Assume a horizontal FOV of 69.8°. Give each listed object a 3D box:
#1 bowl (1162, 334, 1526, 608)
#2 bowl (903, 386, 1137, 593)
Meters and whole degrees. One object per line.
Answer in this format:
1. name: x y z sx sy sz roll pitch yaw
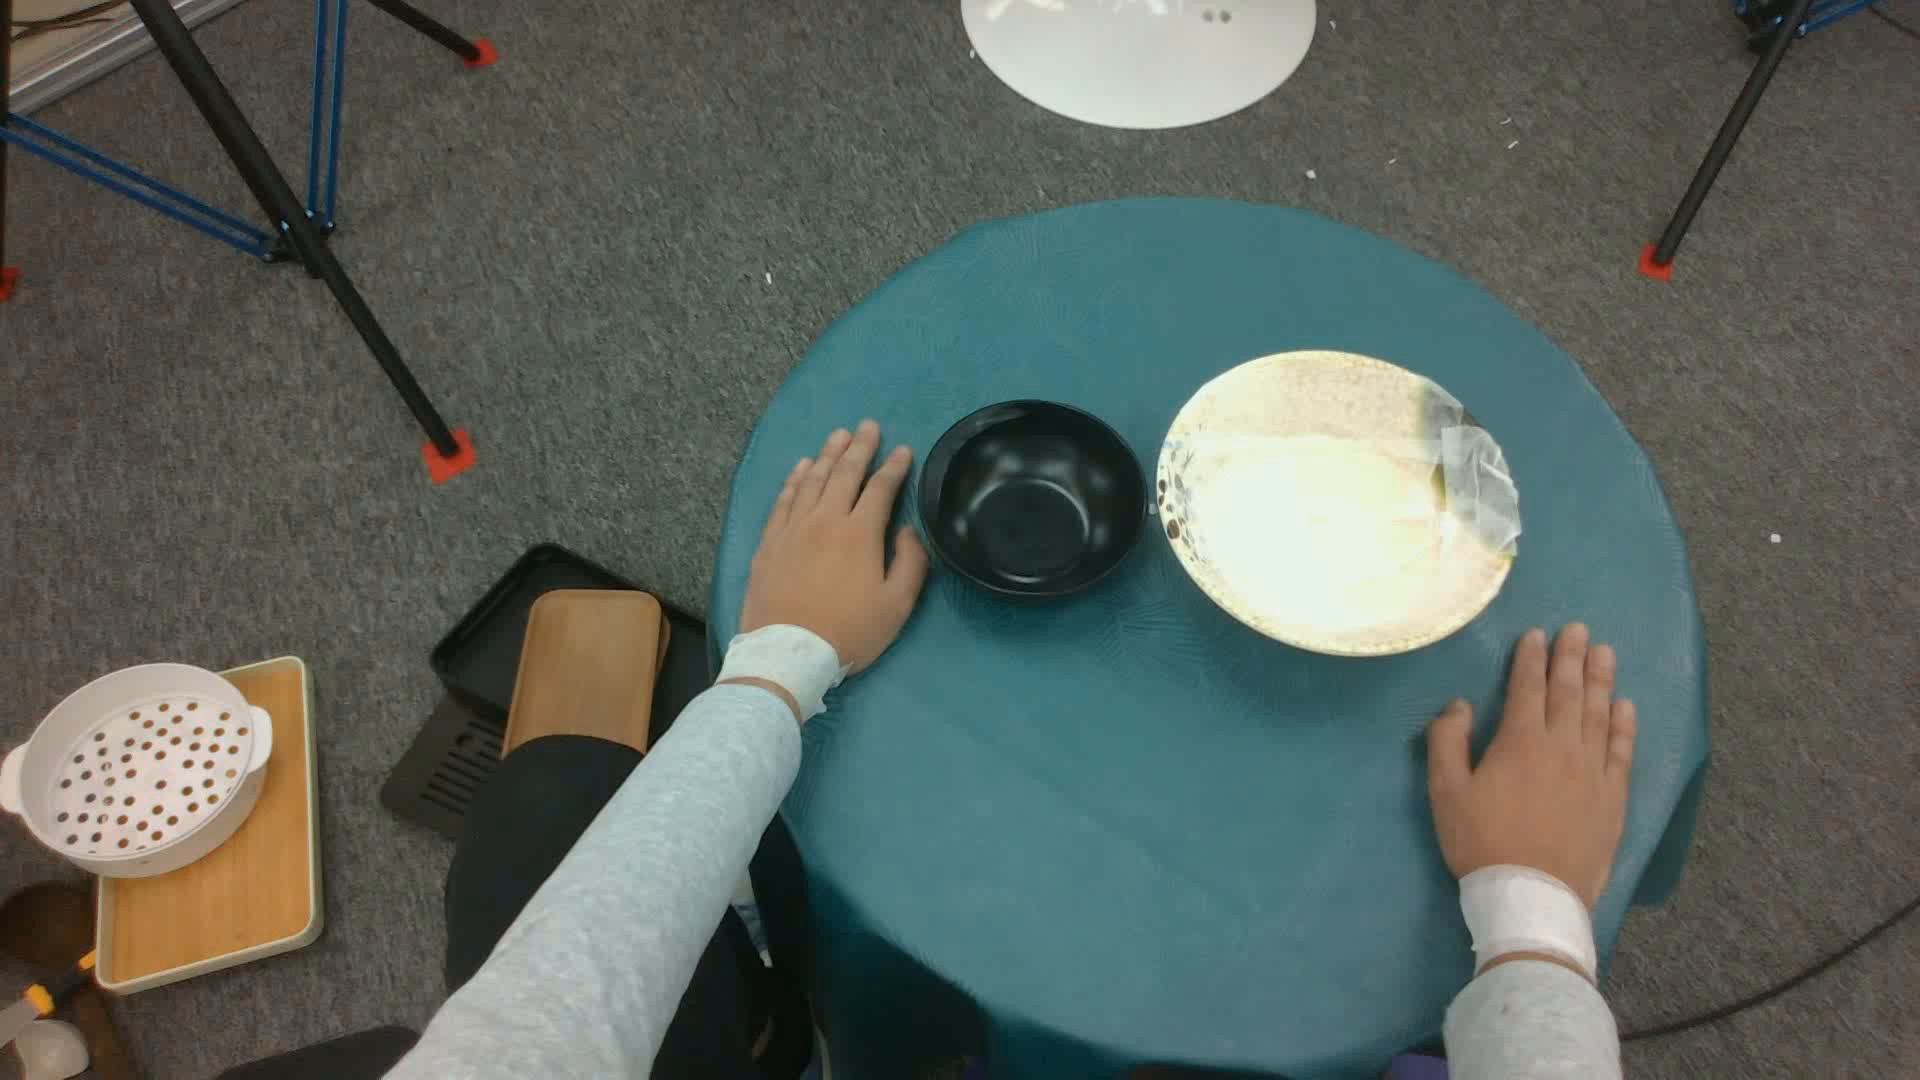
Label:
1. bowl: 0.217 -0.024 0.809 0.204 0.077 0.205 0 52 0
2. bowl: 0.037 -0.024 0.838 0.140 0.049 0.140 -1 61 2
